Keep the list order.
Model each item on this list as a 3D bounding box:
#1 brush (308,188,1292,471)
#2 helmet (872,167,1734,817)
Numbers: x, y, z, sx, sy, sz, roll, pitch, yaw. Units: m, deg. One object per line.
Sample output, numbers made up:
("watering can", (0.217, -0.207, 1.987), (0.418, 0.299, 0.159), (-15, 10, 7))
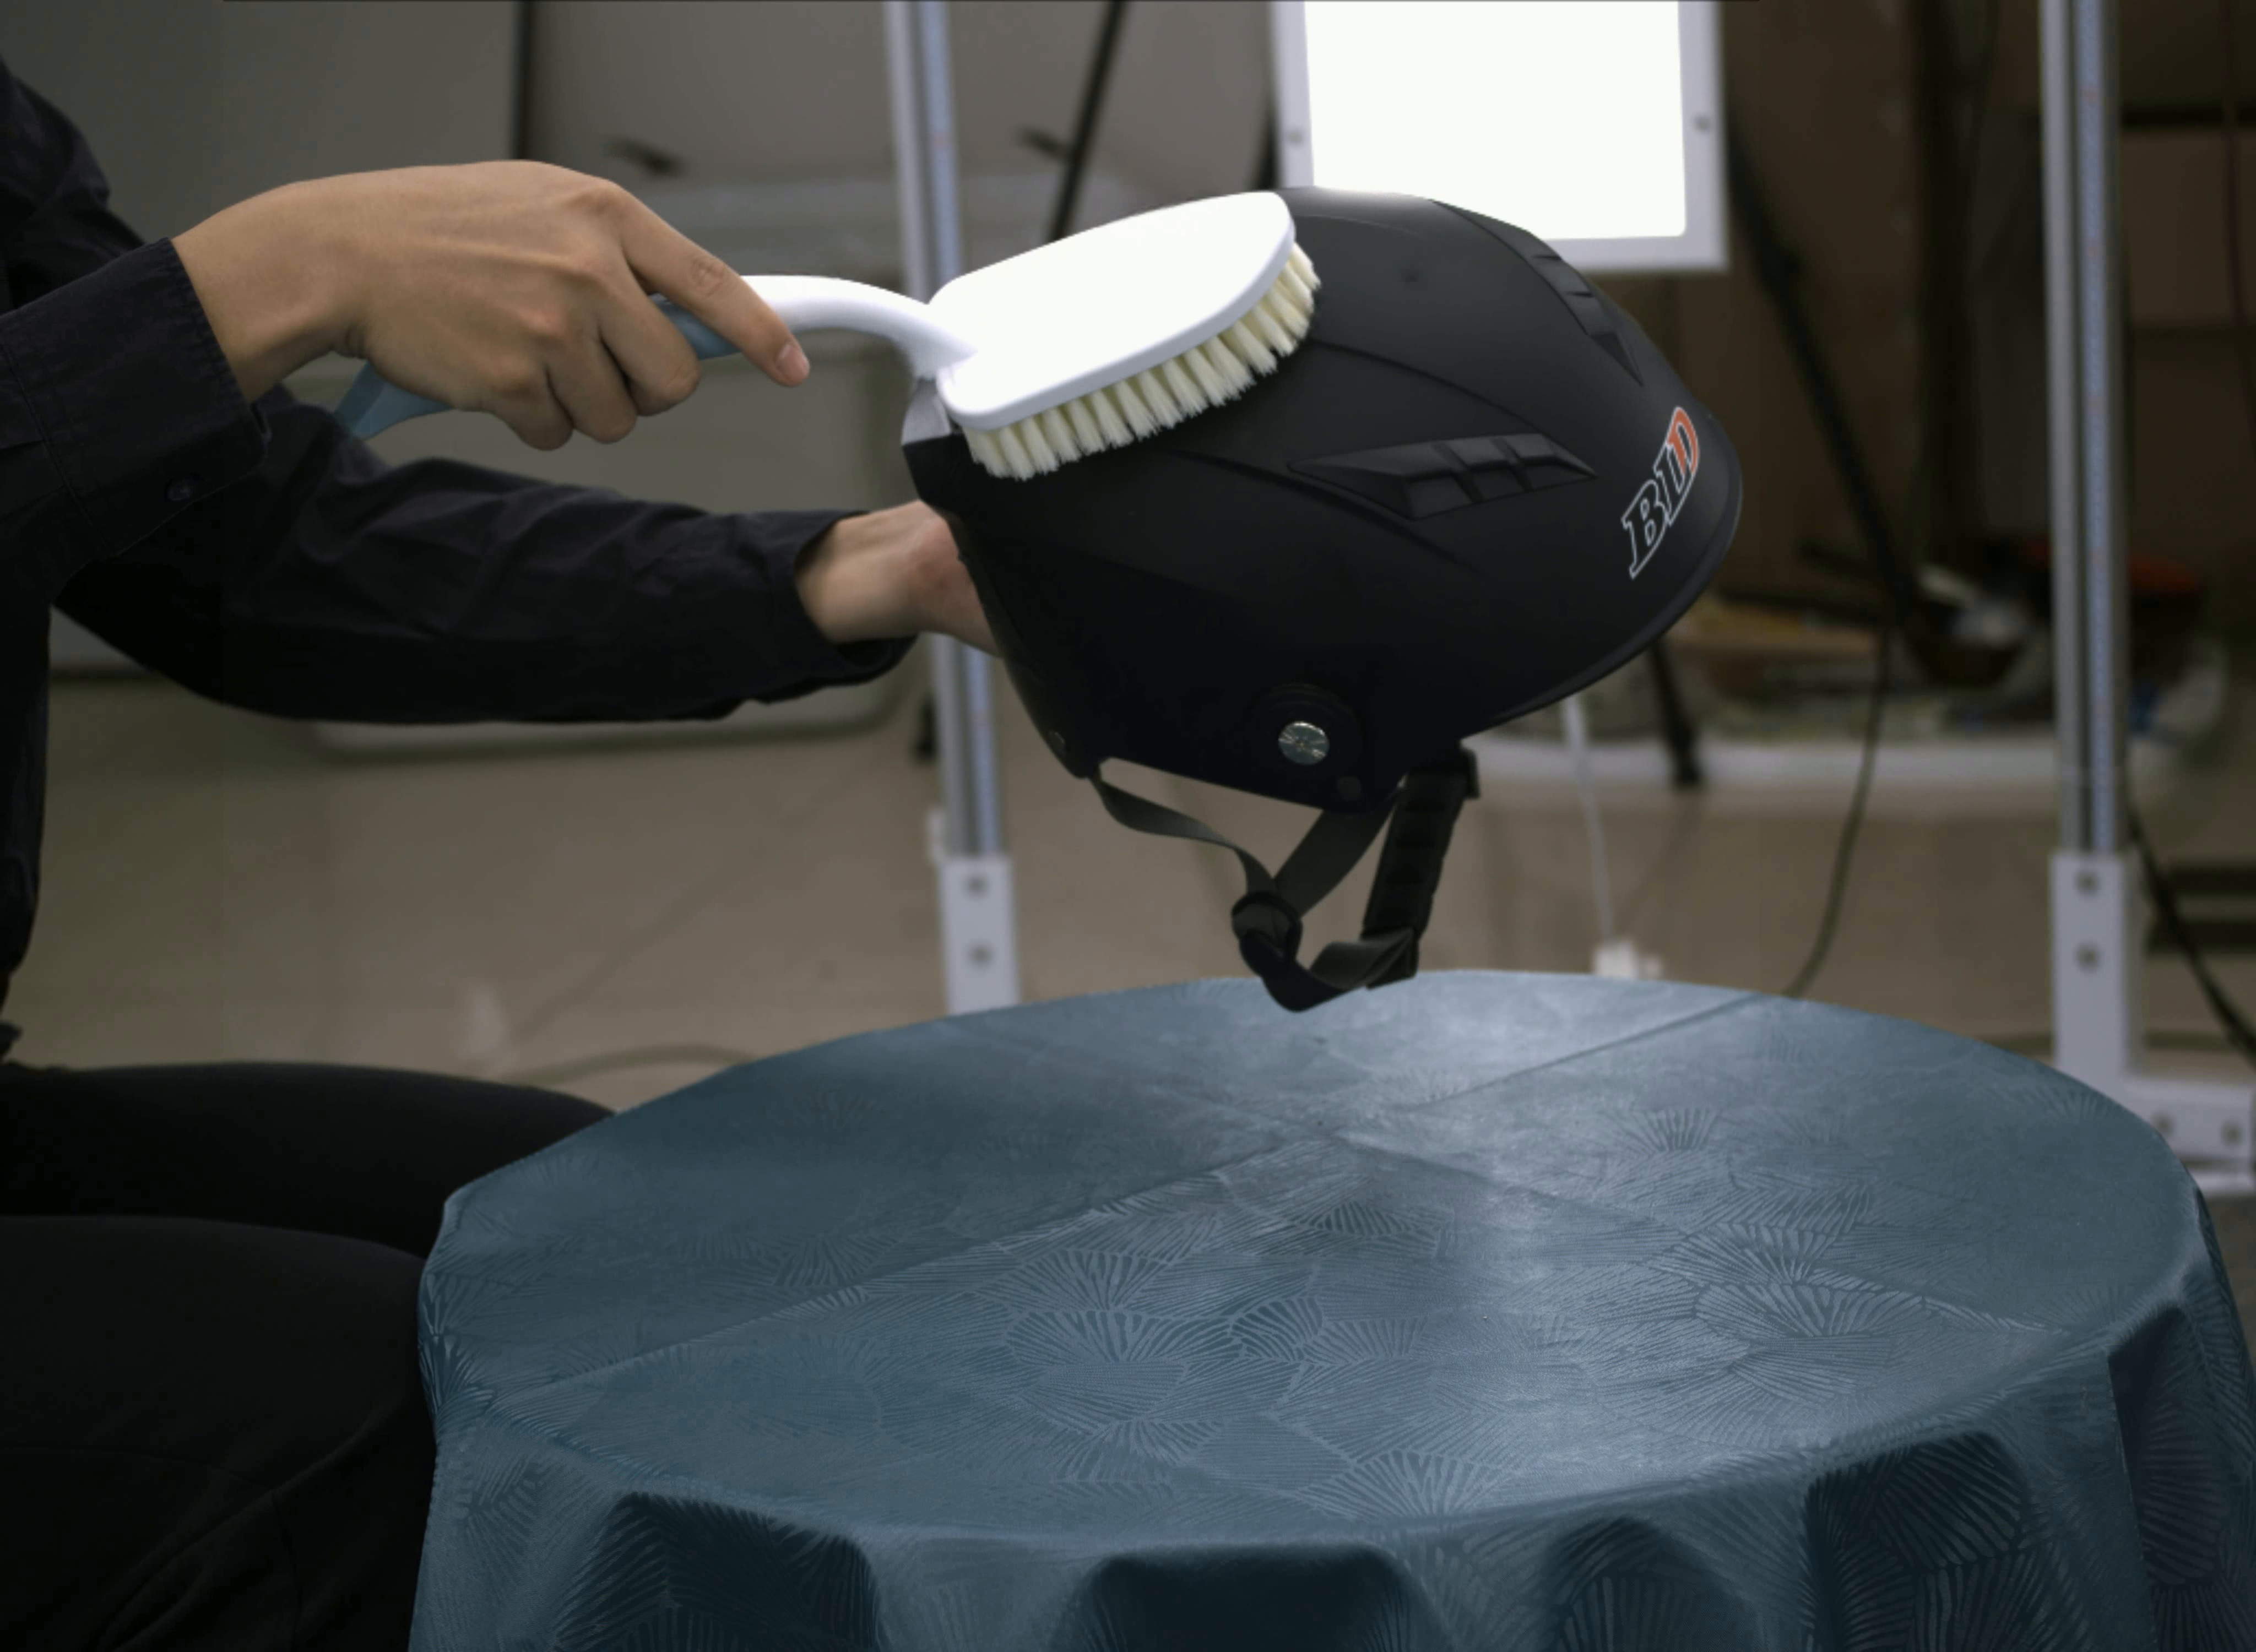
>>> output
("brush", (-0.105, -0.149, 1.814), (0.324, 0.085, 0.083), (-11, 9, 0))
("helmet", (0.057, -0.136, 1.893), (0.282, 0.171, 0.243), (0, 45, 33))
